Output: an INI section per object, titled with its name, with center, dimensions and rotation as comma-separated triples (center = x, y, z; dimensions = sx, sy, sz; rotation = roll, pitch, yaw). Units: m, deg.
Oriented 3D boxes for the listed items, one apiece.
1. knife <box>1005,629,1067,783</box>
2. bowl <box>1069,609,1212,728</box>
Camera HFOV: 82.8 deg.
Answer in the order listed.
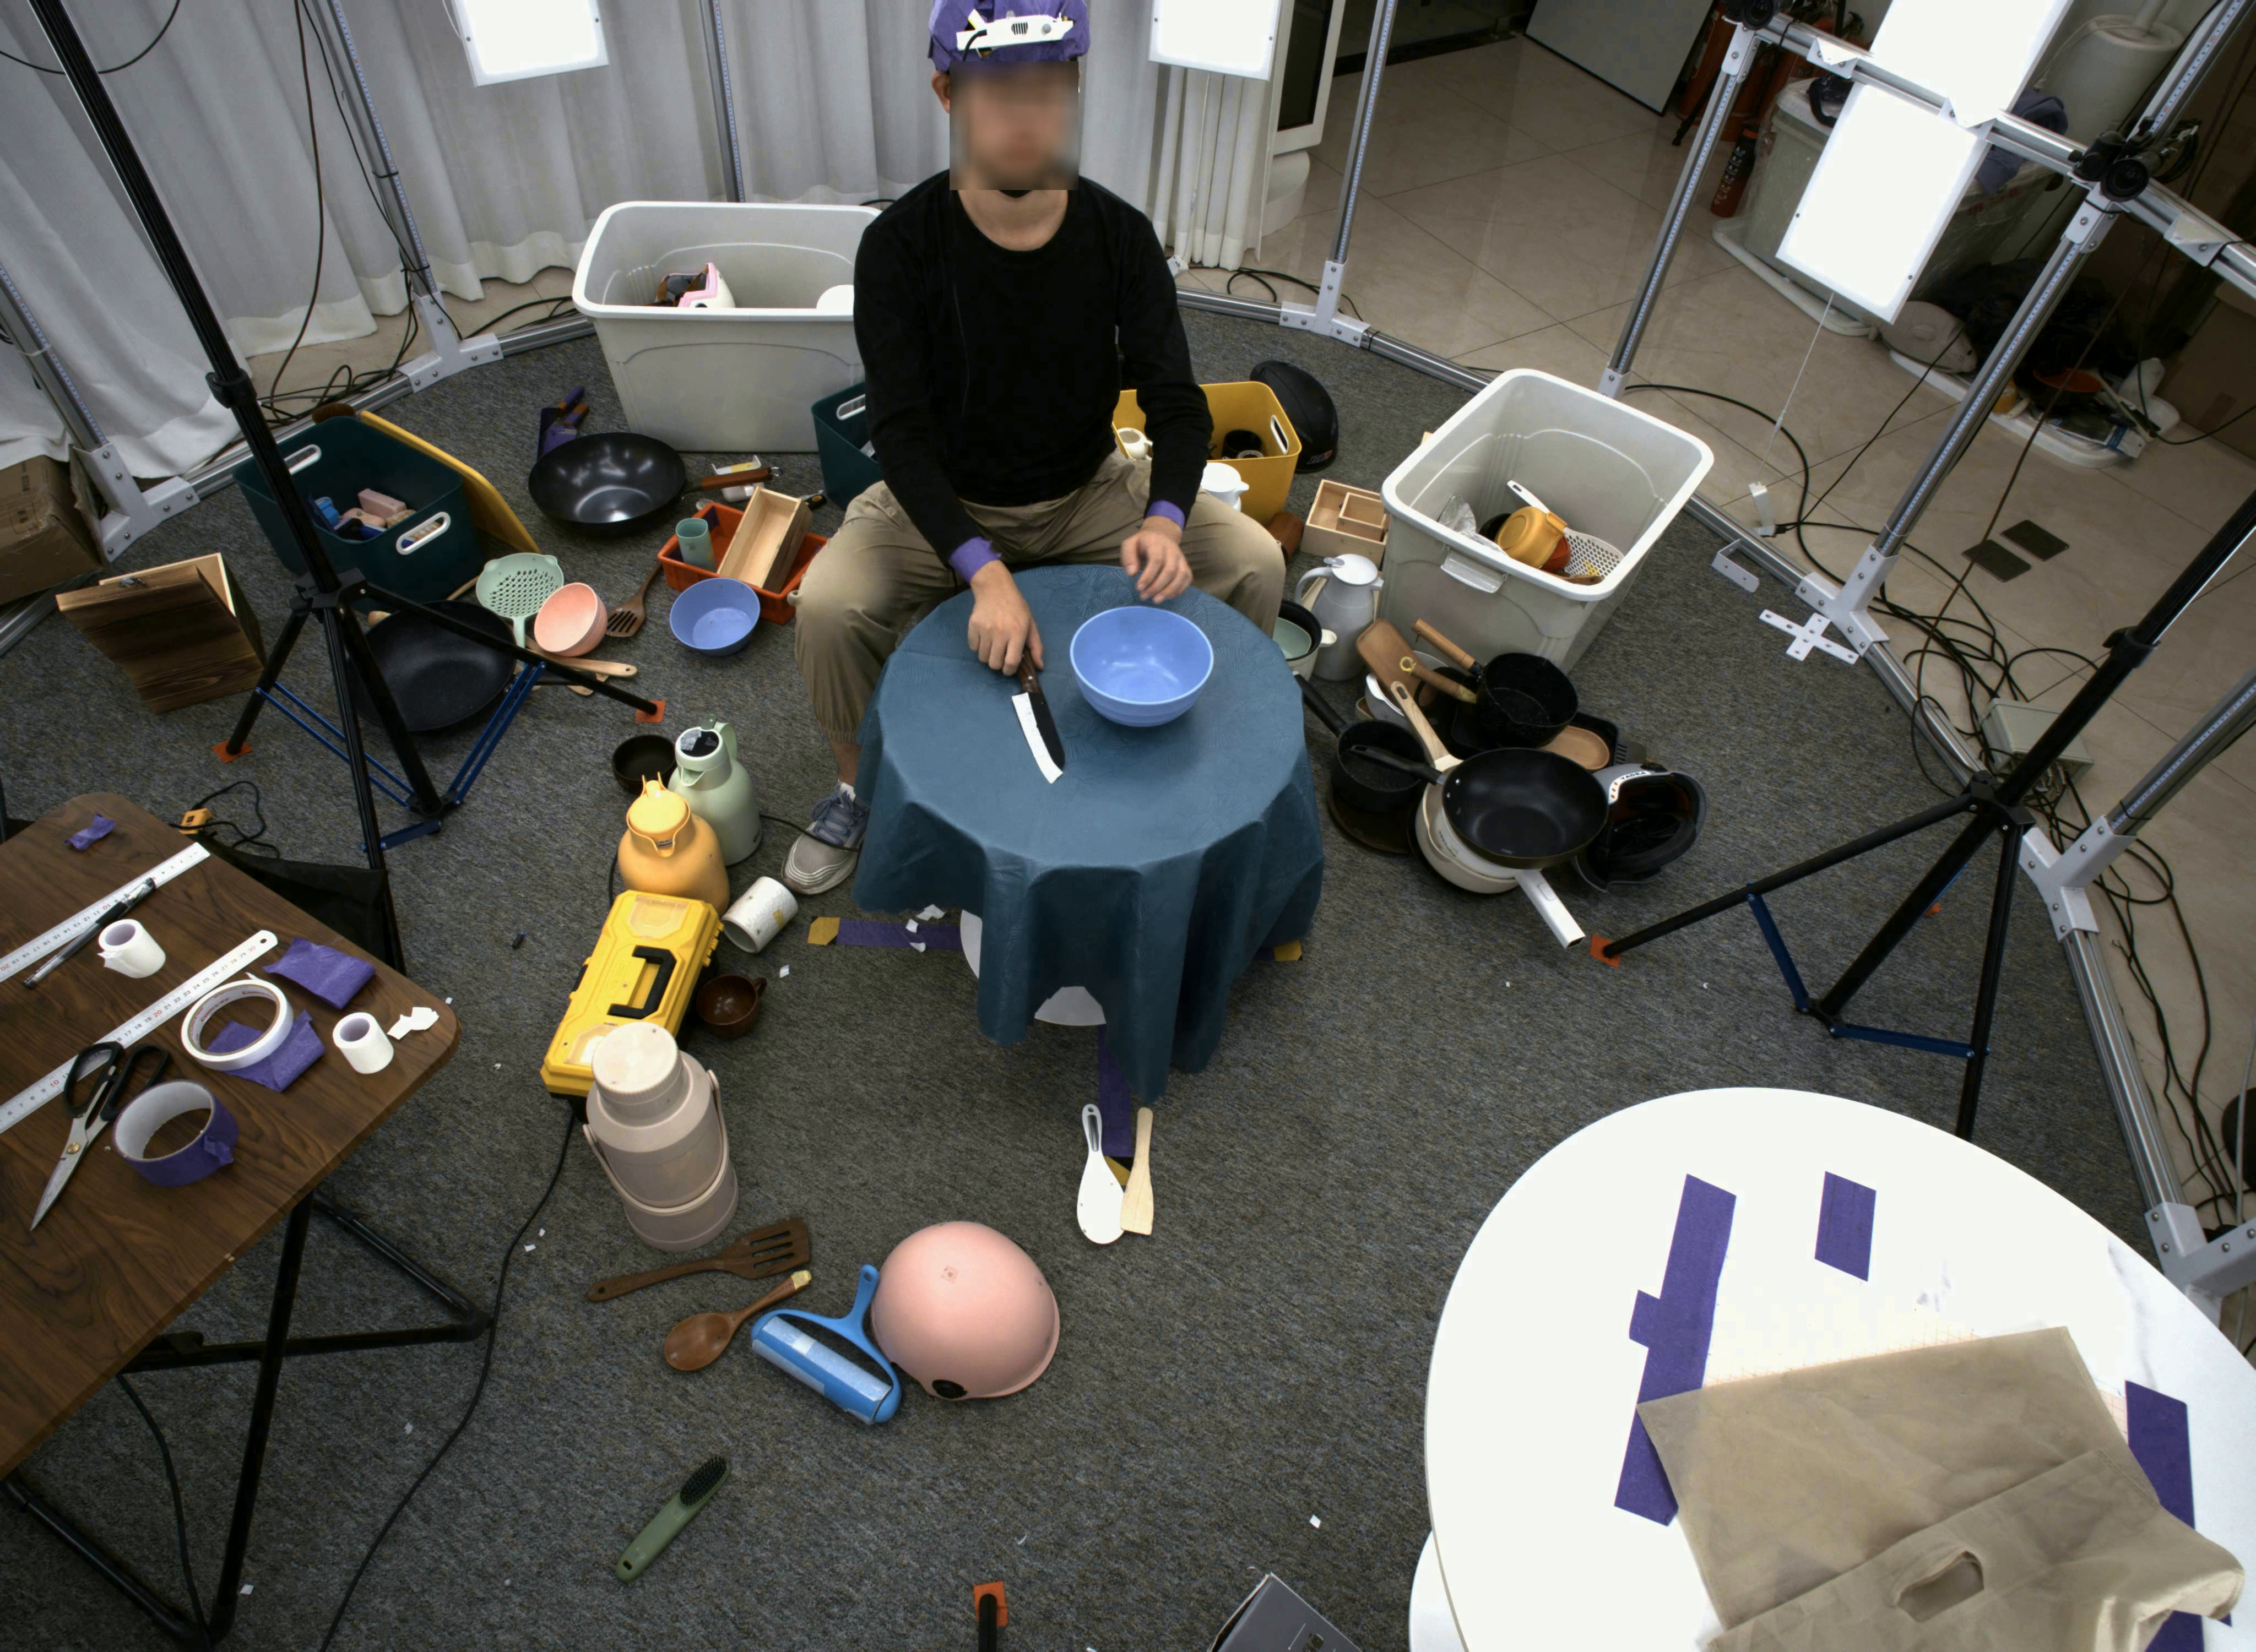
[knife]
center = -0.133, -0.171, 1.800
dimensions = 0.050, 0.019, 0.296
rotation = -13, 53, -6
[bowl]
center = 0.016, -0.205, 1.790
dimensions = 0.196, 0.093, 0.201
rotation = 1, 48, -1
